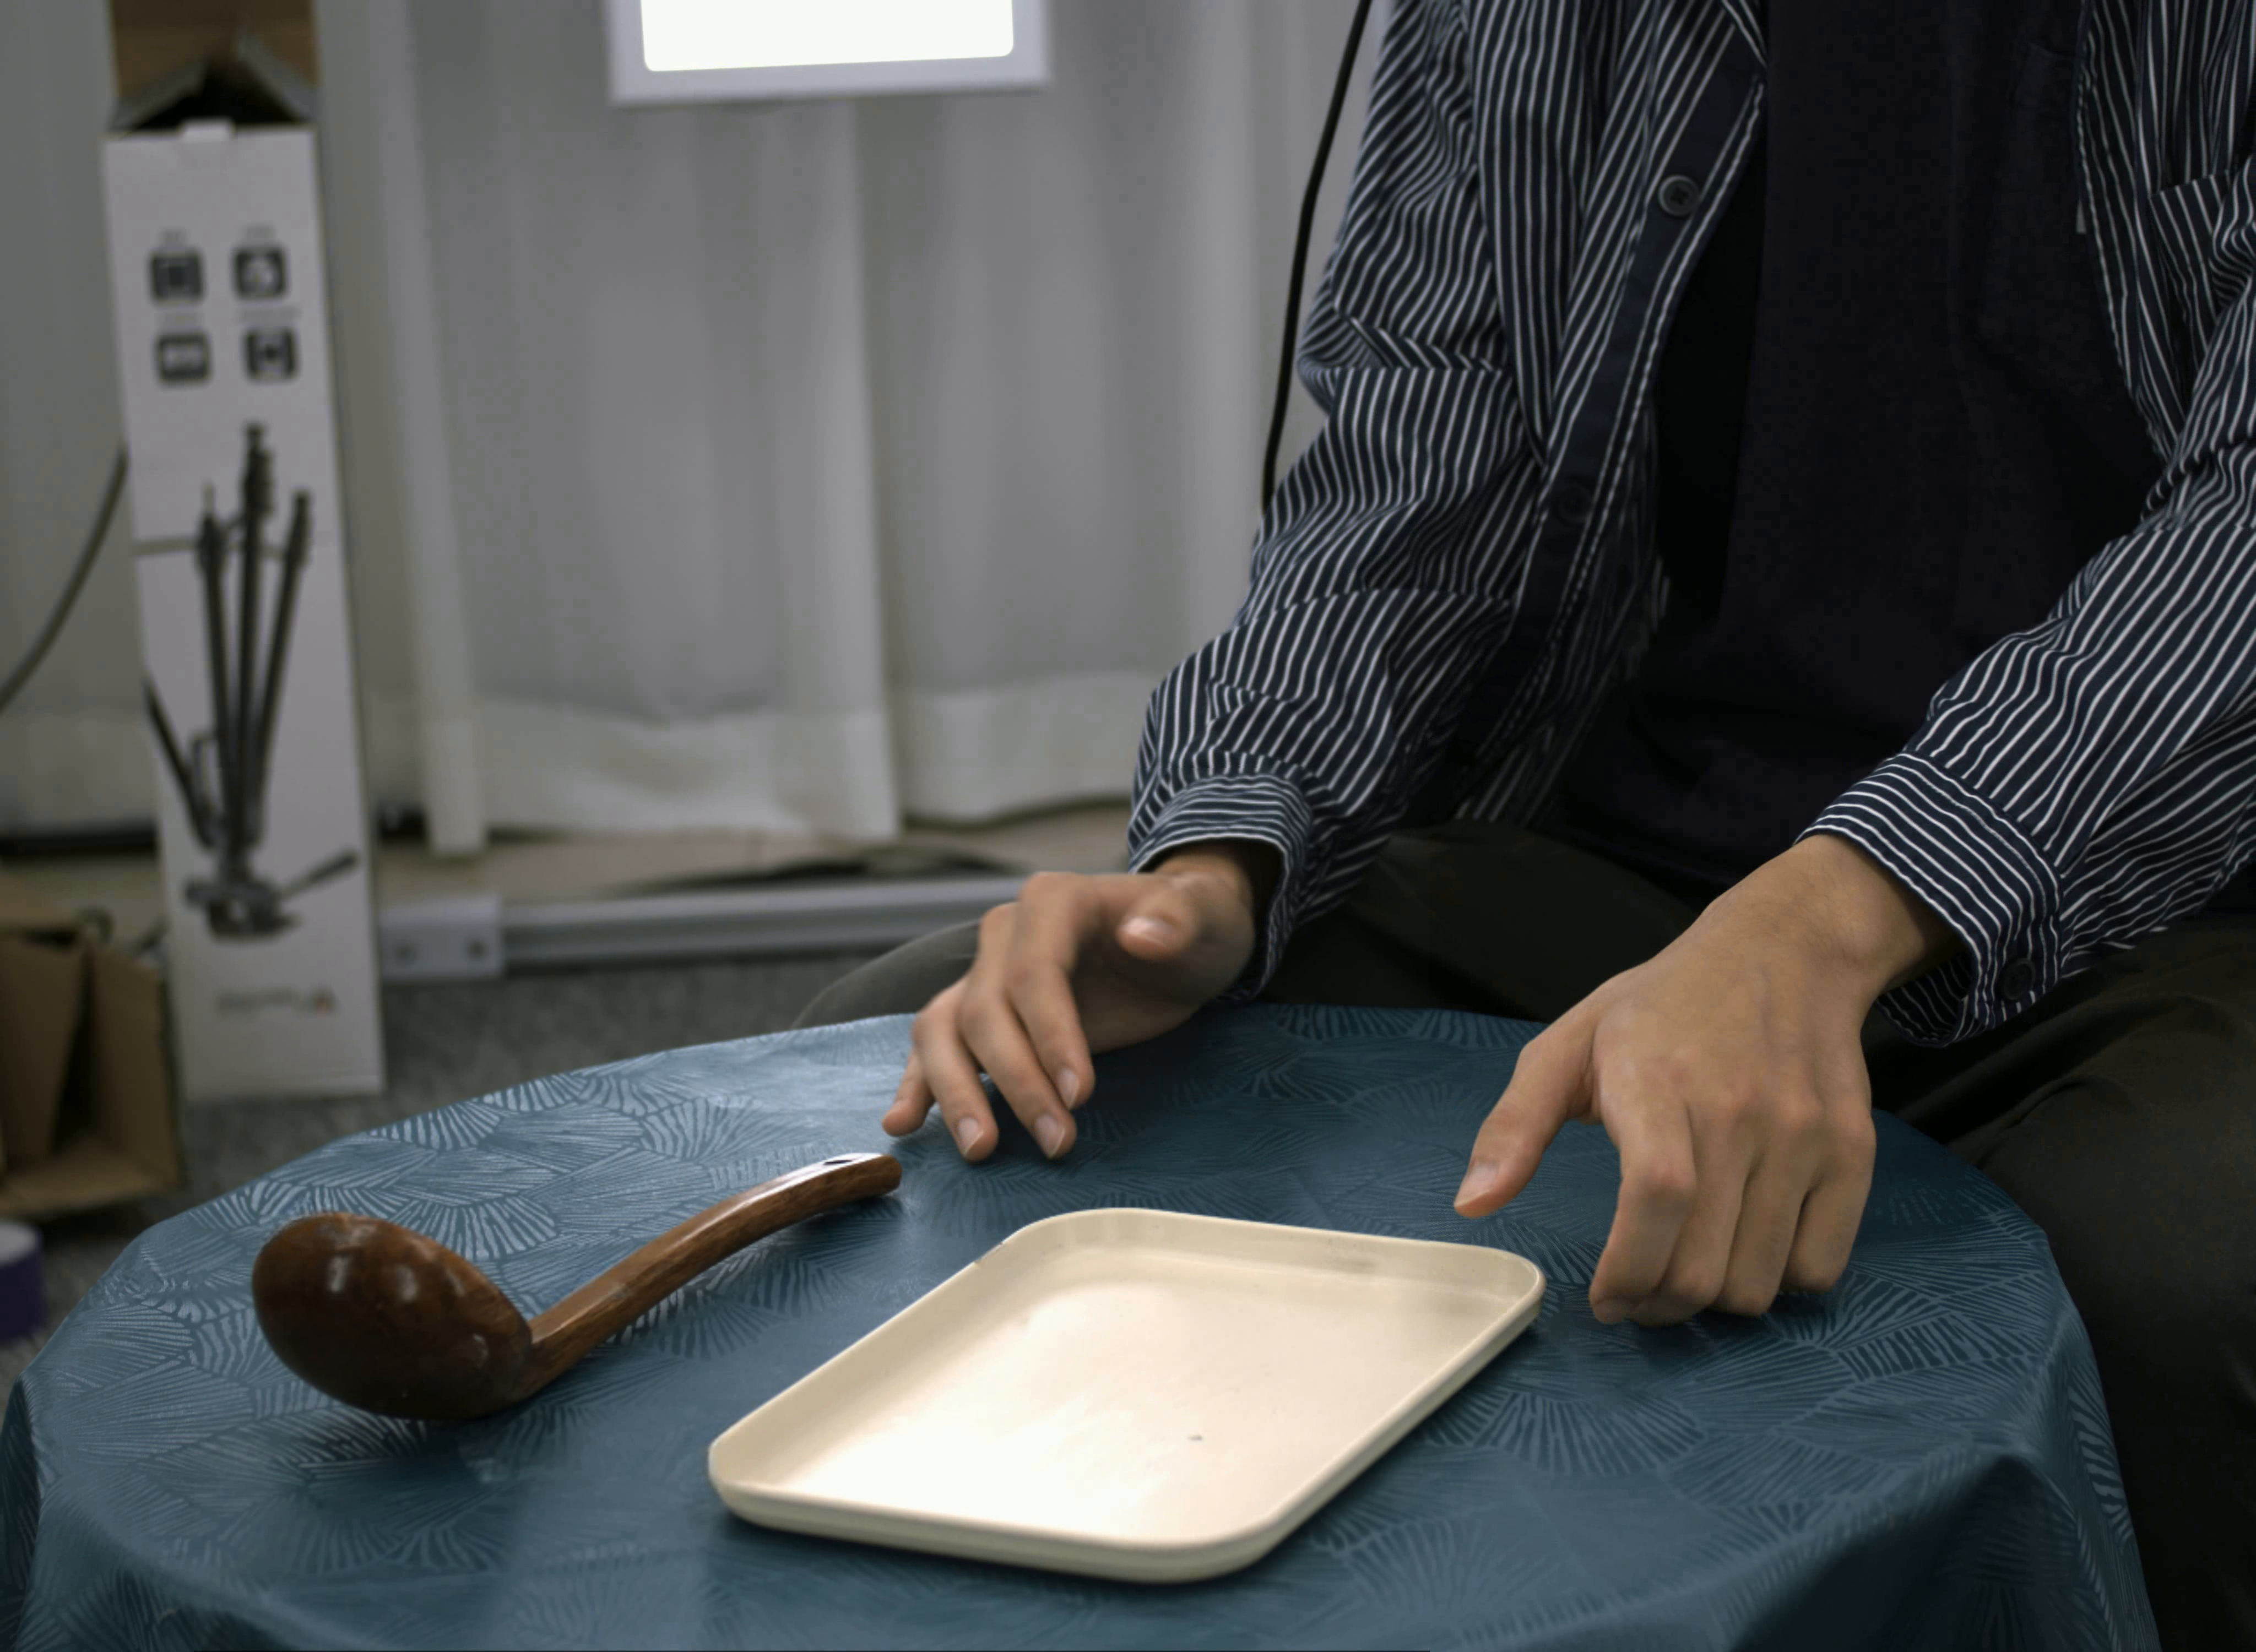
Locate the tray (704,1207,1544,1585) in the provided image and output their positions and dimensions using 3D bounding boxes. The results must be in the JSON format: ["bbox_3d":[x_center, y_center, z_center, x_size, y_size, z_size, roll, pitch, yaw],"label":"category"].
[{"bbox_3d":[0.003,0.157,1.523,0.171,0.017,0.240,5,17,26],"label":"tray"}]

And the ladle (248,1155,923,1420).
[{"bbox_3d":[-0.152,0.111,1.613,0.082,0.076,0.274,1,15,33],"label":"ladle"}]
